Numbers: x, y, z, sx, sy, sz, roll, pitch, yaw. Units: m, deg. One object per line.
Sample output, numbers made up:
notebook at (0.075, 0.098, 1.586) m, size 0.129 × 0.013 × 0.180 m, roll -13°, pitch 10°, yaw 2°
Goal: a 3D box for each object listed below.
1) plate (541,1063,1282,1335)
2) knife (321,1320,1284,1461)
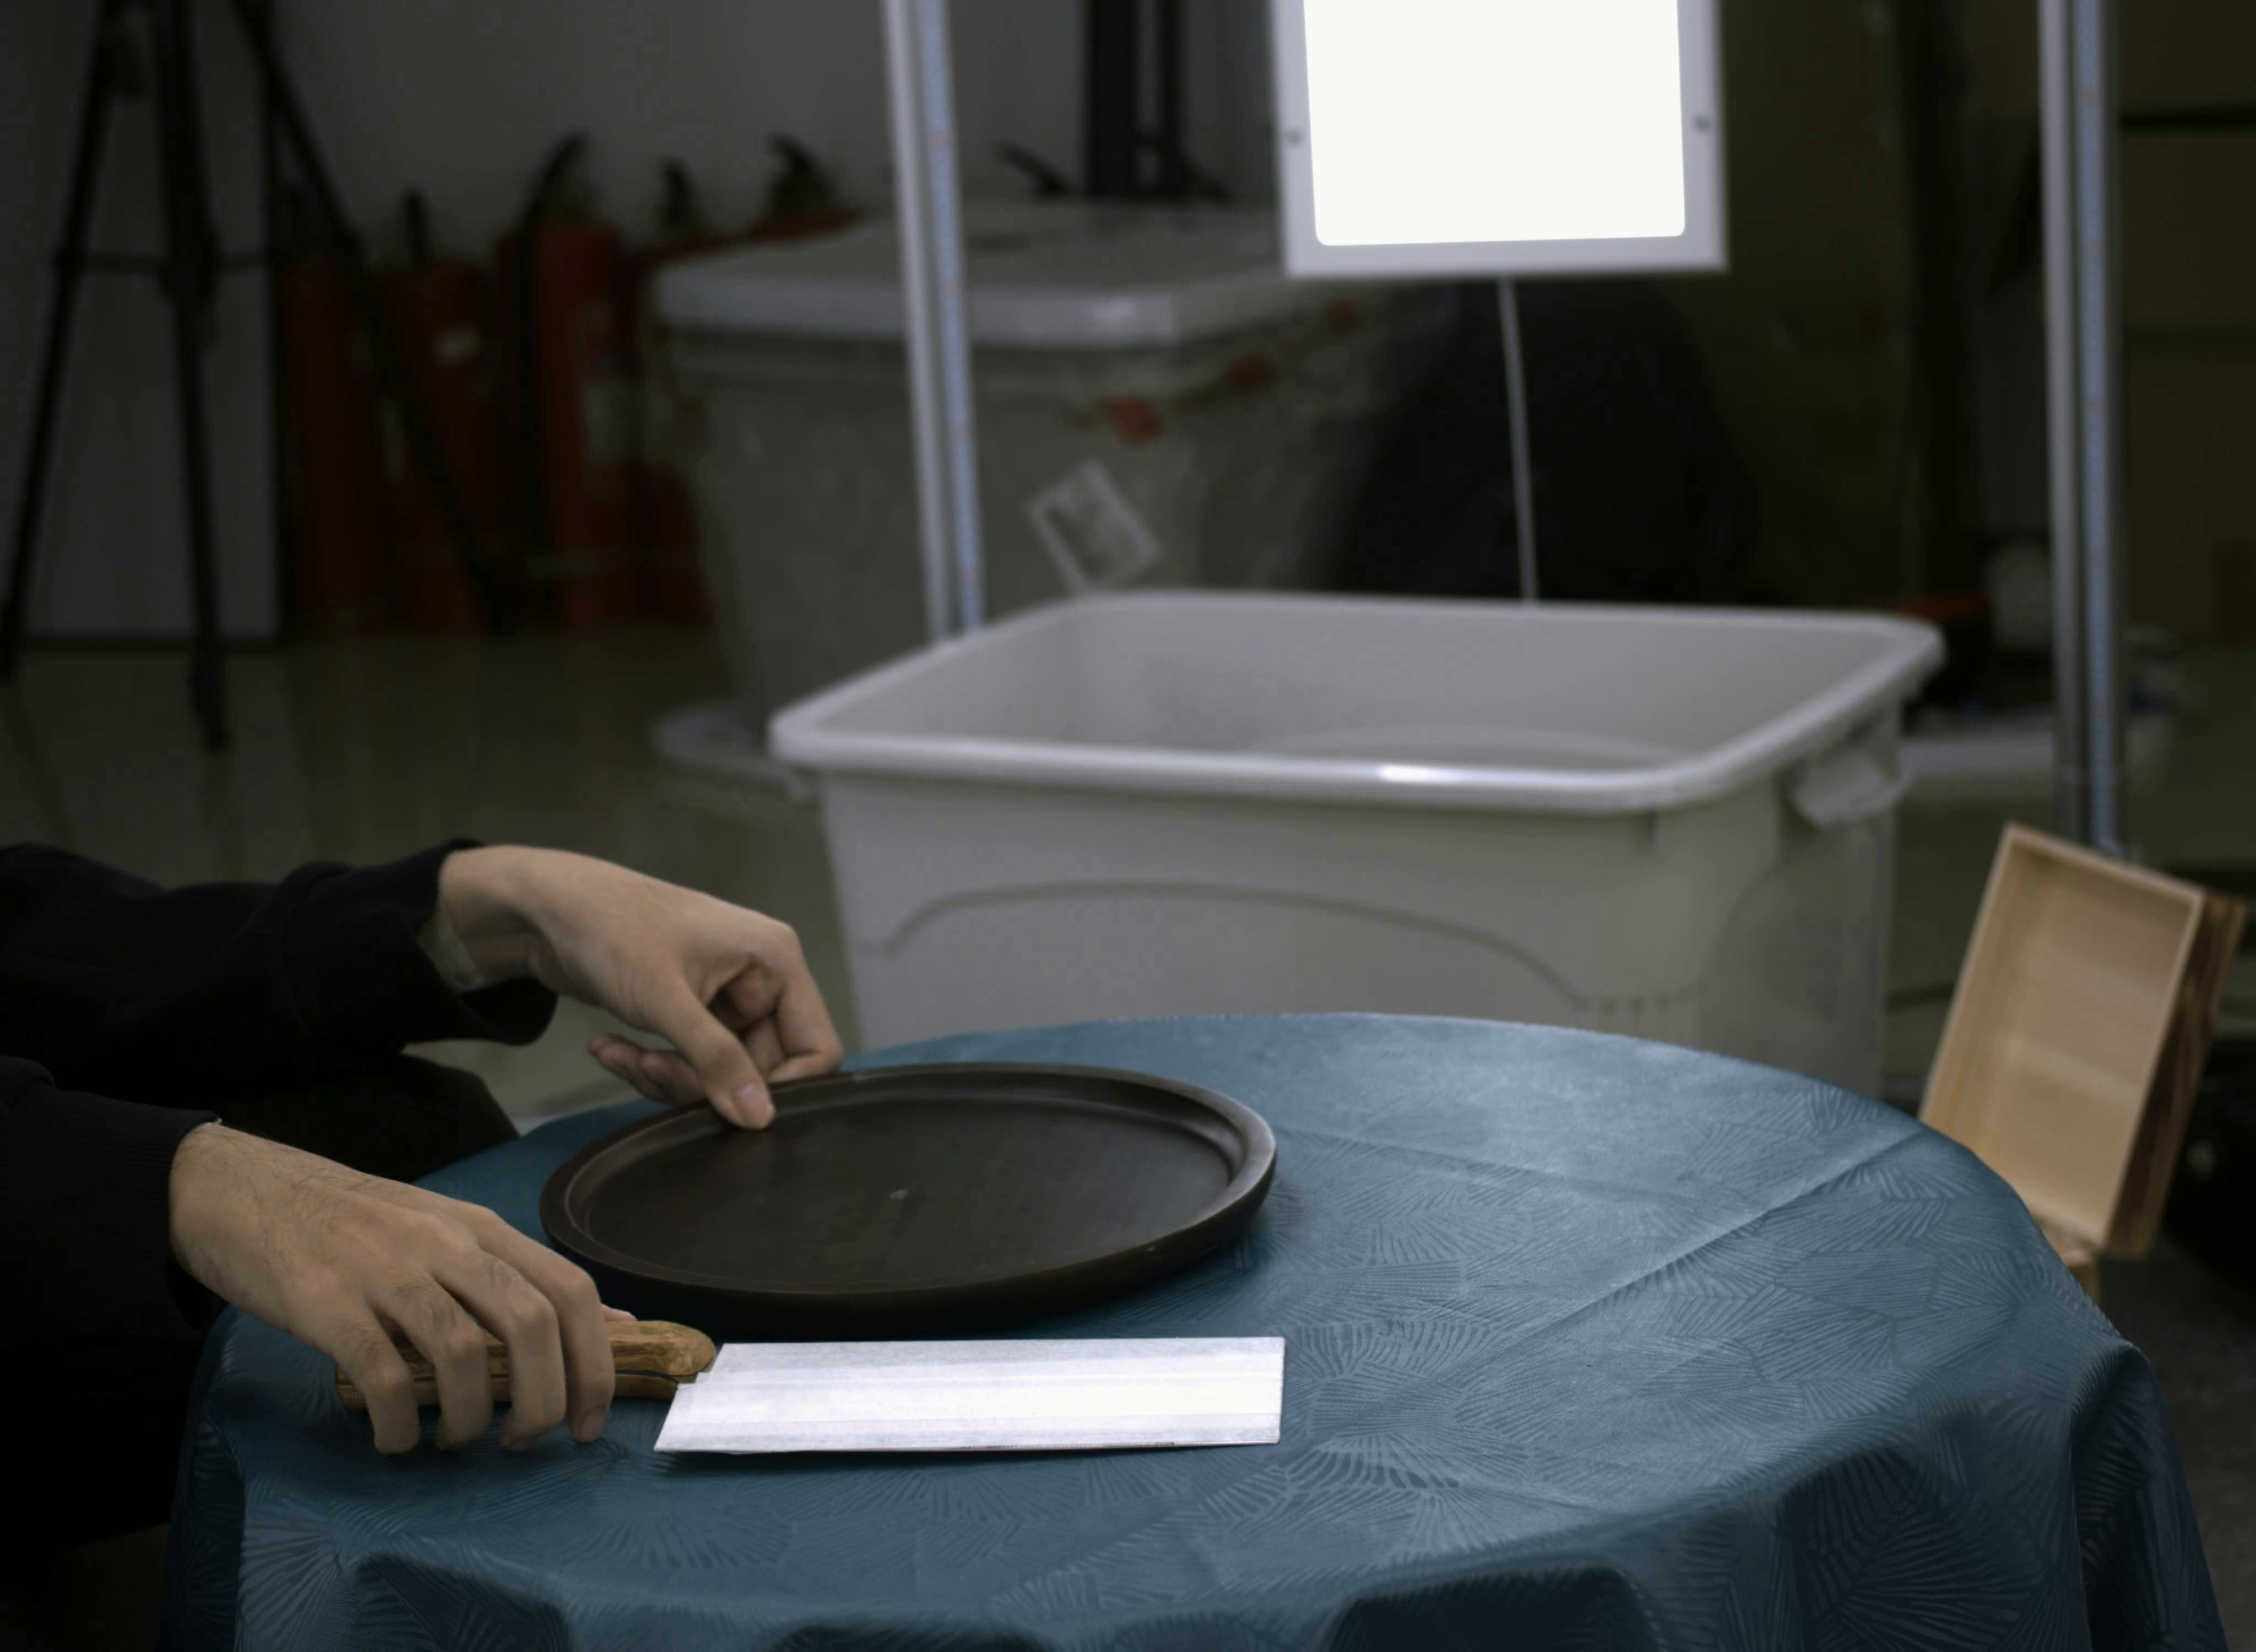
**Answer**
plate at (-0.073, 0.125, 1.876) m, size 0.254 × 0.029 × 0.254 m, roll -5°, pitch 12°, yaw 0°
knife at (-0.104, 0.176, 1.704) m, size 0.306 × 0.021 × 0.092 m, roll -1°, pitch 16°, yaw 6°
